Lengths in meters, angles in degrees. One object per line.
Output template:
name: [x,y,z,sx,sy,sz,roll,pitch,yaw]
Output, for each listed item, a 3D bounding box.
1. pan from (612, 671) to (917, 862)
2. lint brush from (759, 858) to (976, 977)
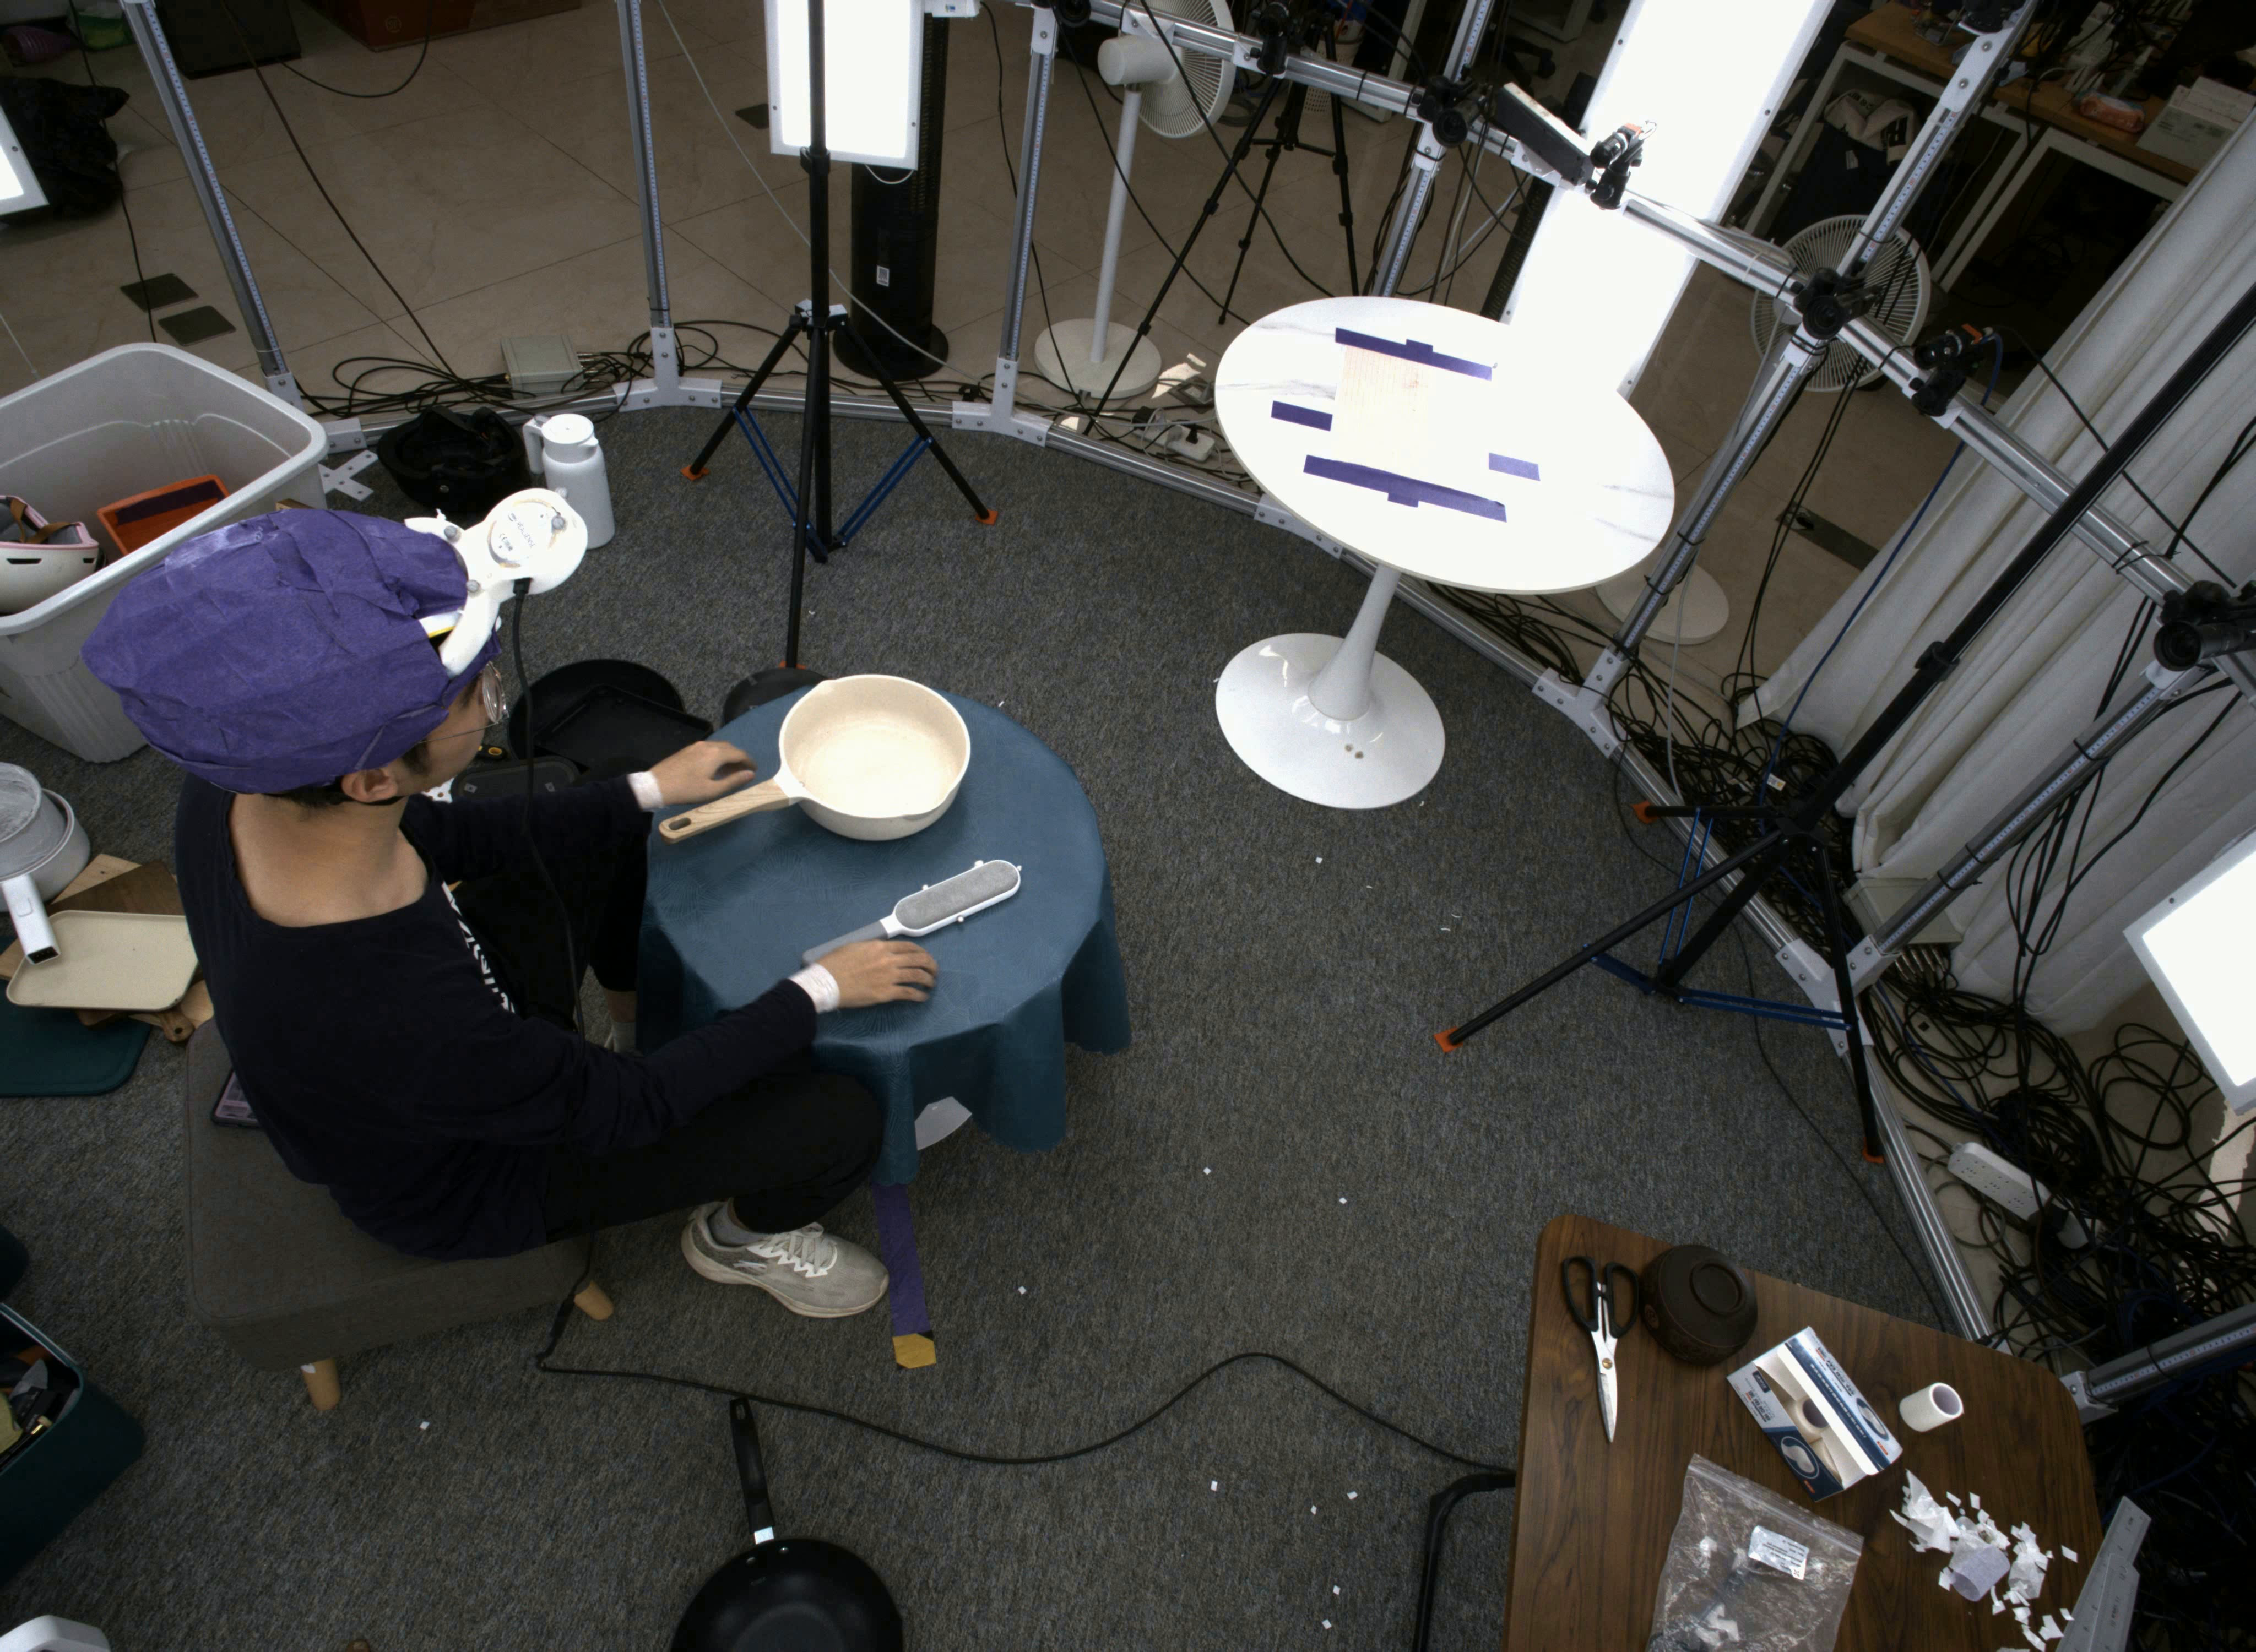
pan: [-0.477,-0.047,1.693,0.436,0.104,0.258,-33,70,-32]
lint brush: [-0.328,0.114,1.657,0.310,0.021,0.059,-26,69,-29]
